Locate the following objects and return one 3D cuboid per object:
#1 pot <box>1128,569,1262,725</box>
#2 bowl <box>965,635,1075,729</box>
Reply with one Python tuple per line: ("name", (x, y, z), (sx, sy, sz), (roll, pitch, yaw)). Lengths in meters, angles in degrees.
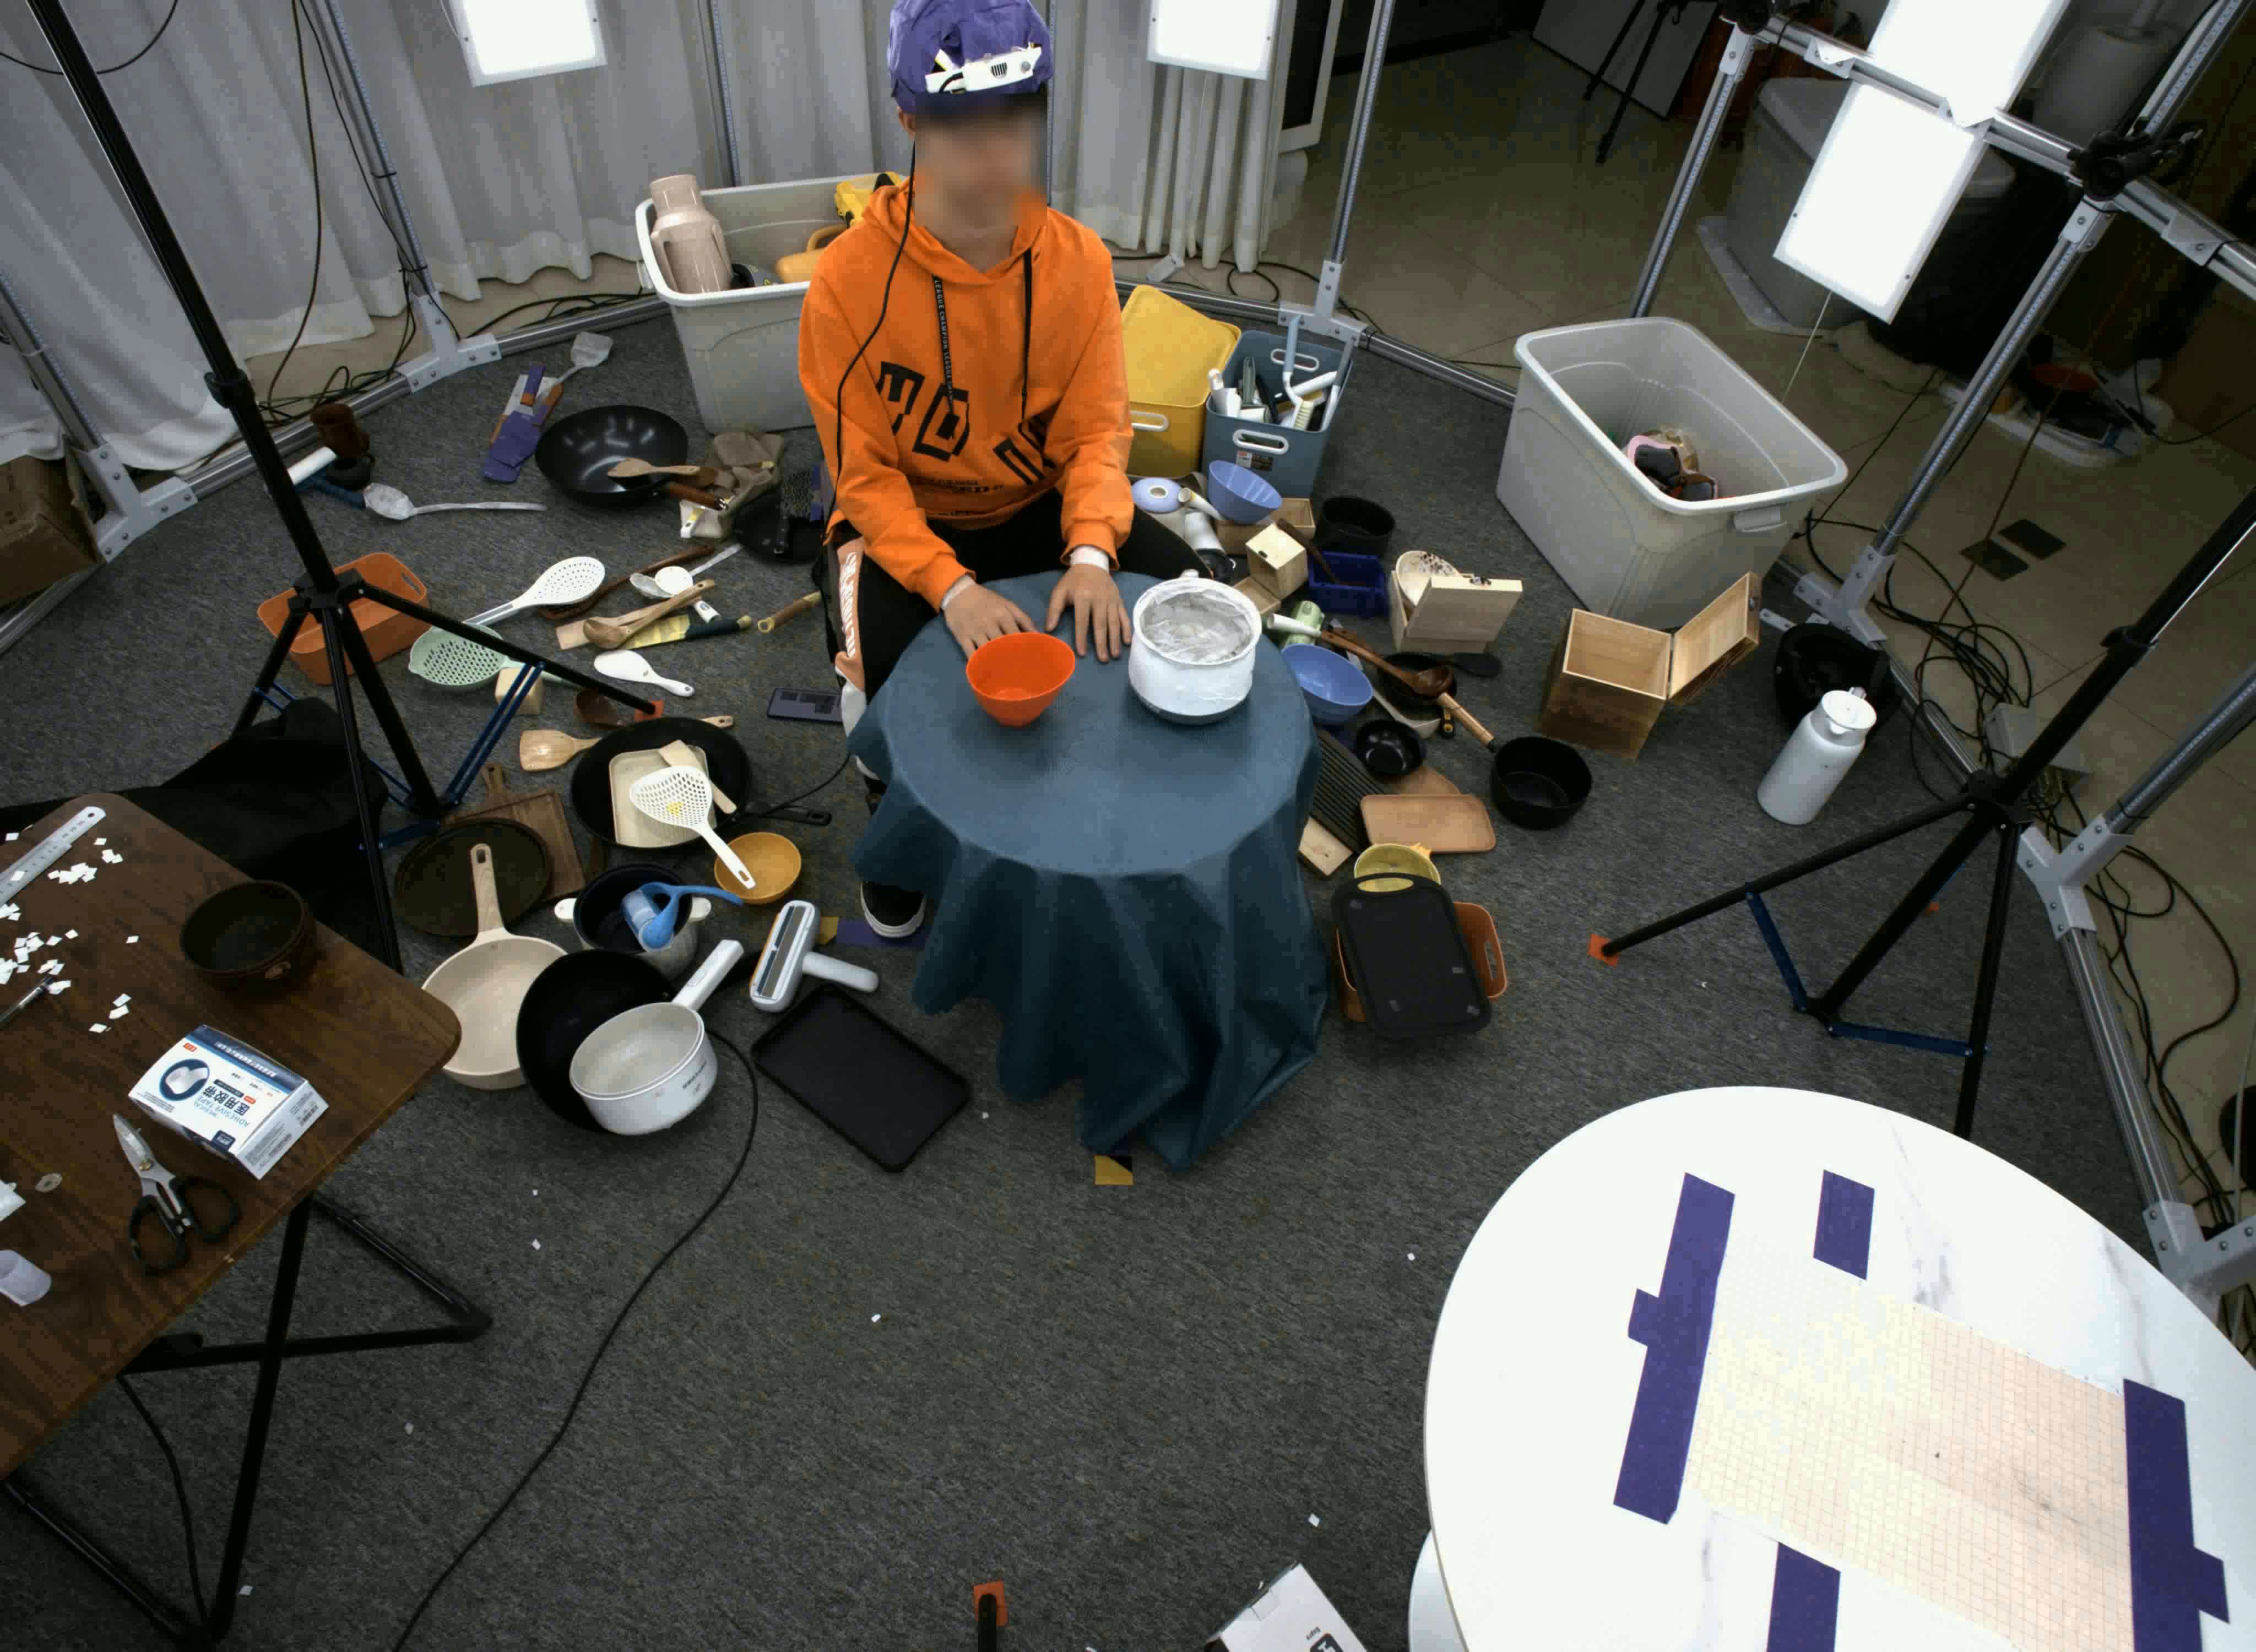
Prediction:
("pot", (0.088, -0.262, 1.813), (0.178, 0.133, 0.239), (-1, 50, -5))
("bowl", (-0.148, -0.187, 1.760), (0.148, 0.102, 0.152), (1, 48, -2))
